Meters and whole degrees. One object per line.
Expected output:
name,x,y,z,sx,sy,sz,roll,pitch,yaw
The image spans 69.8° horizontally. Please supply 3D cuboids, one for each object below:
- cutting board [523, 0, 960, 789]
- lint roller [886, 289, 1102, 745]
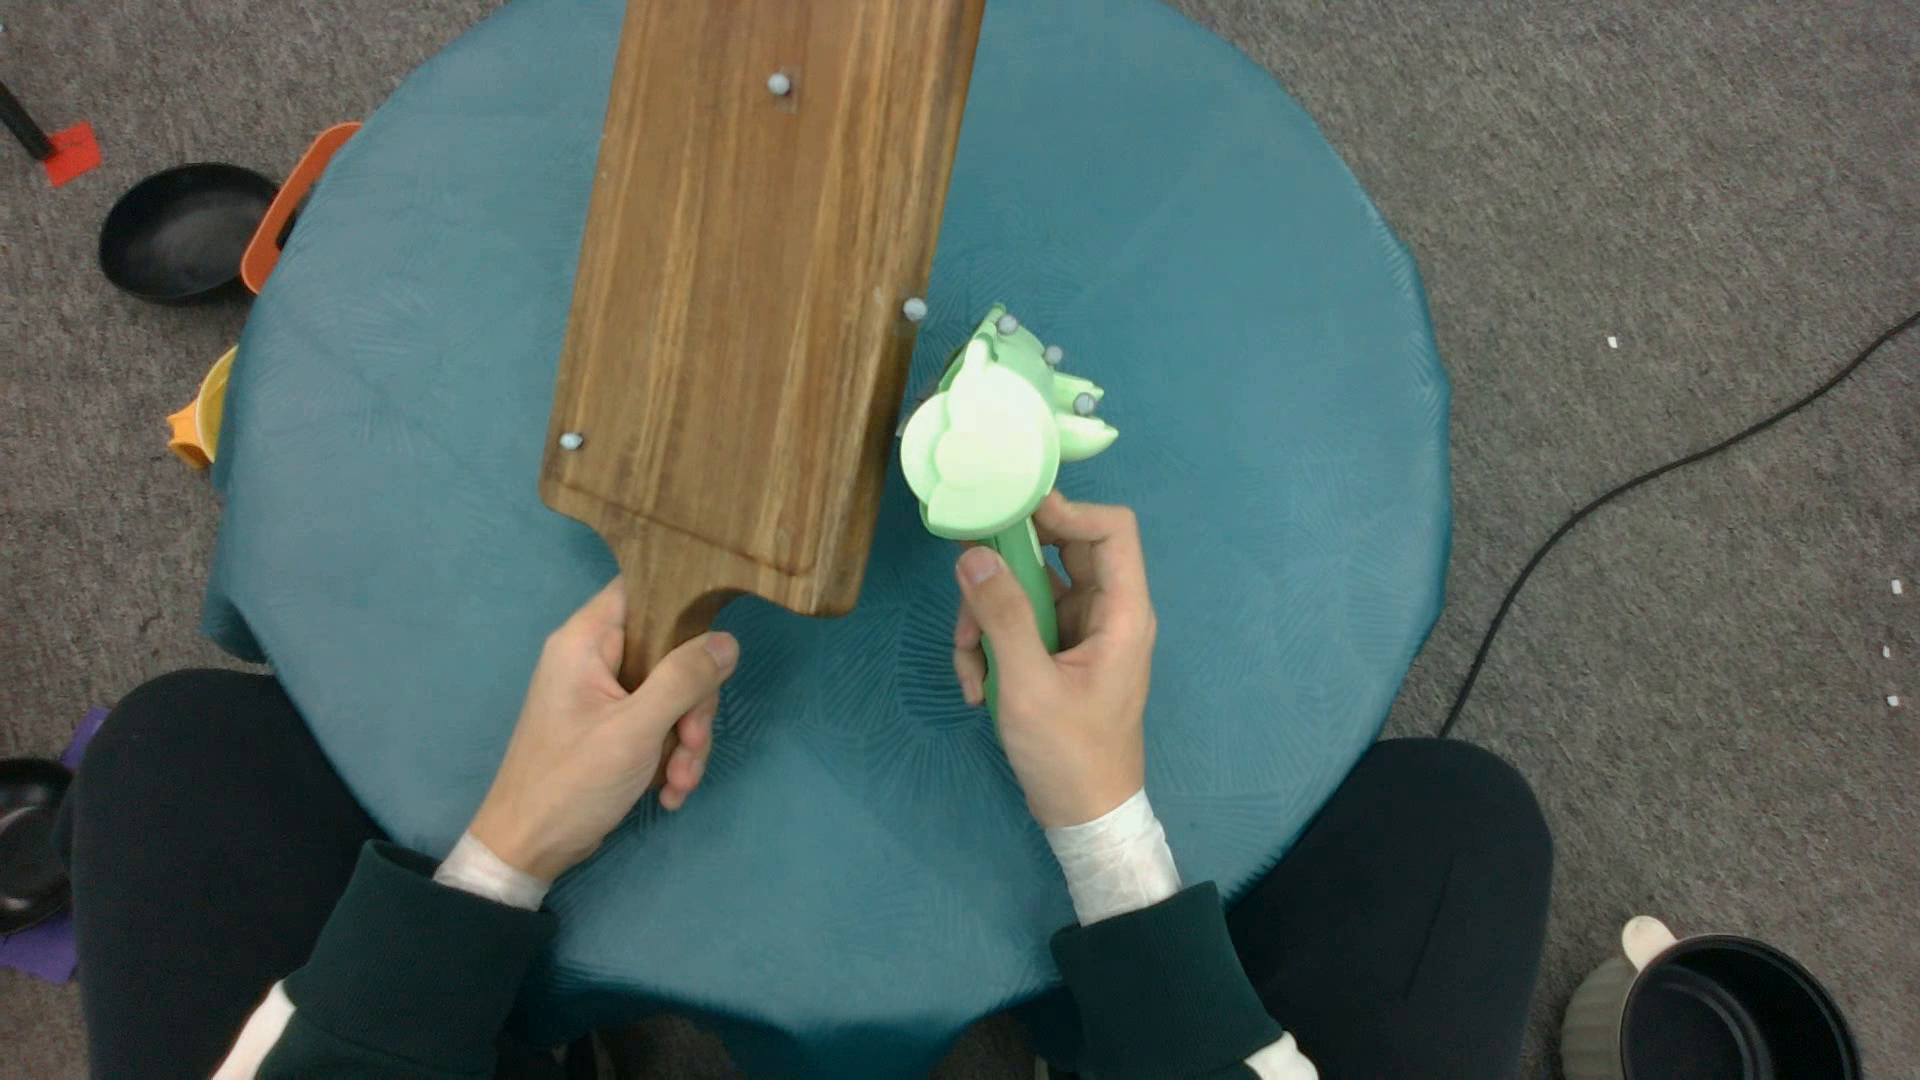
cutting board,-0.107,-0.069,0.560,0.201,0.023,0.351,16,98,39
lint roller,0.027,-0.008,0.561,0.082,0.199,0.183,-18,103,5
